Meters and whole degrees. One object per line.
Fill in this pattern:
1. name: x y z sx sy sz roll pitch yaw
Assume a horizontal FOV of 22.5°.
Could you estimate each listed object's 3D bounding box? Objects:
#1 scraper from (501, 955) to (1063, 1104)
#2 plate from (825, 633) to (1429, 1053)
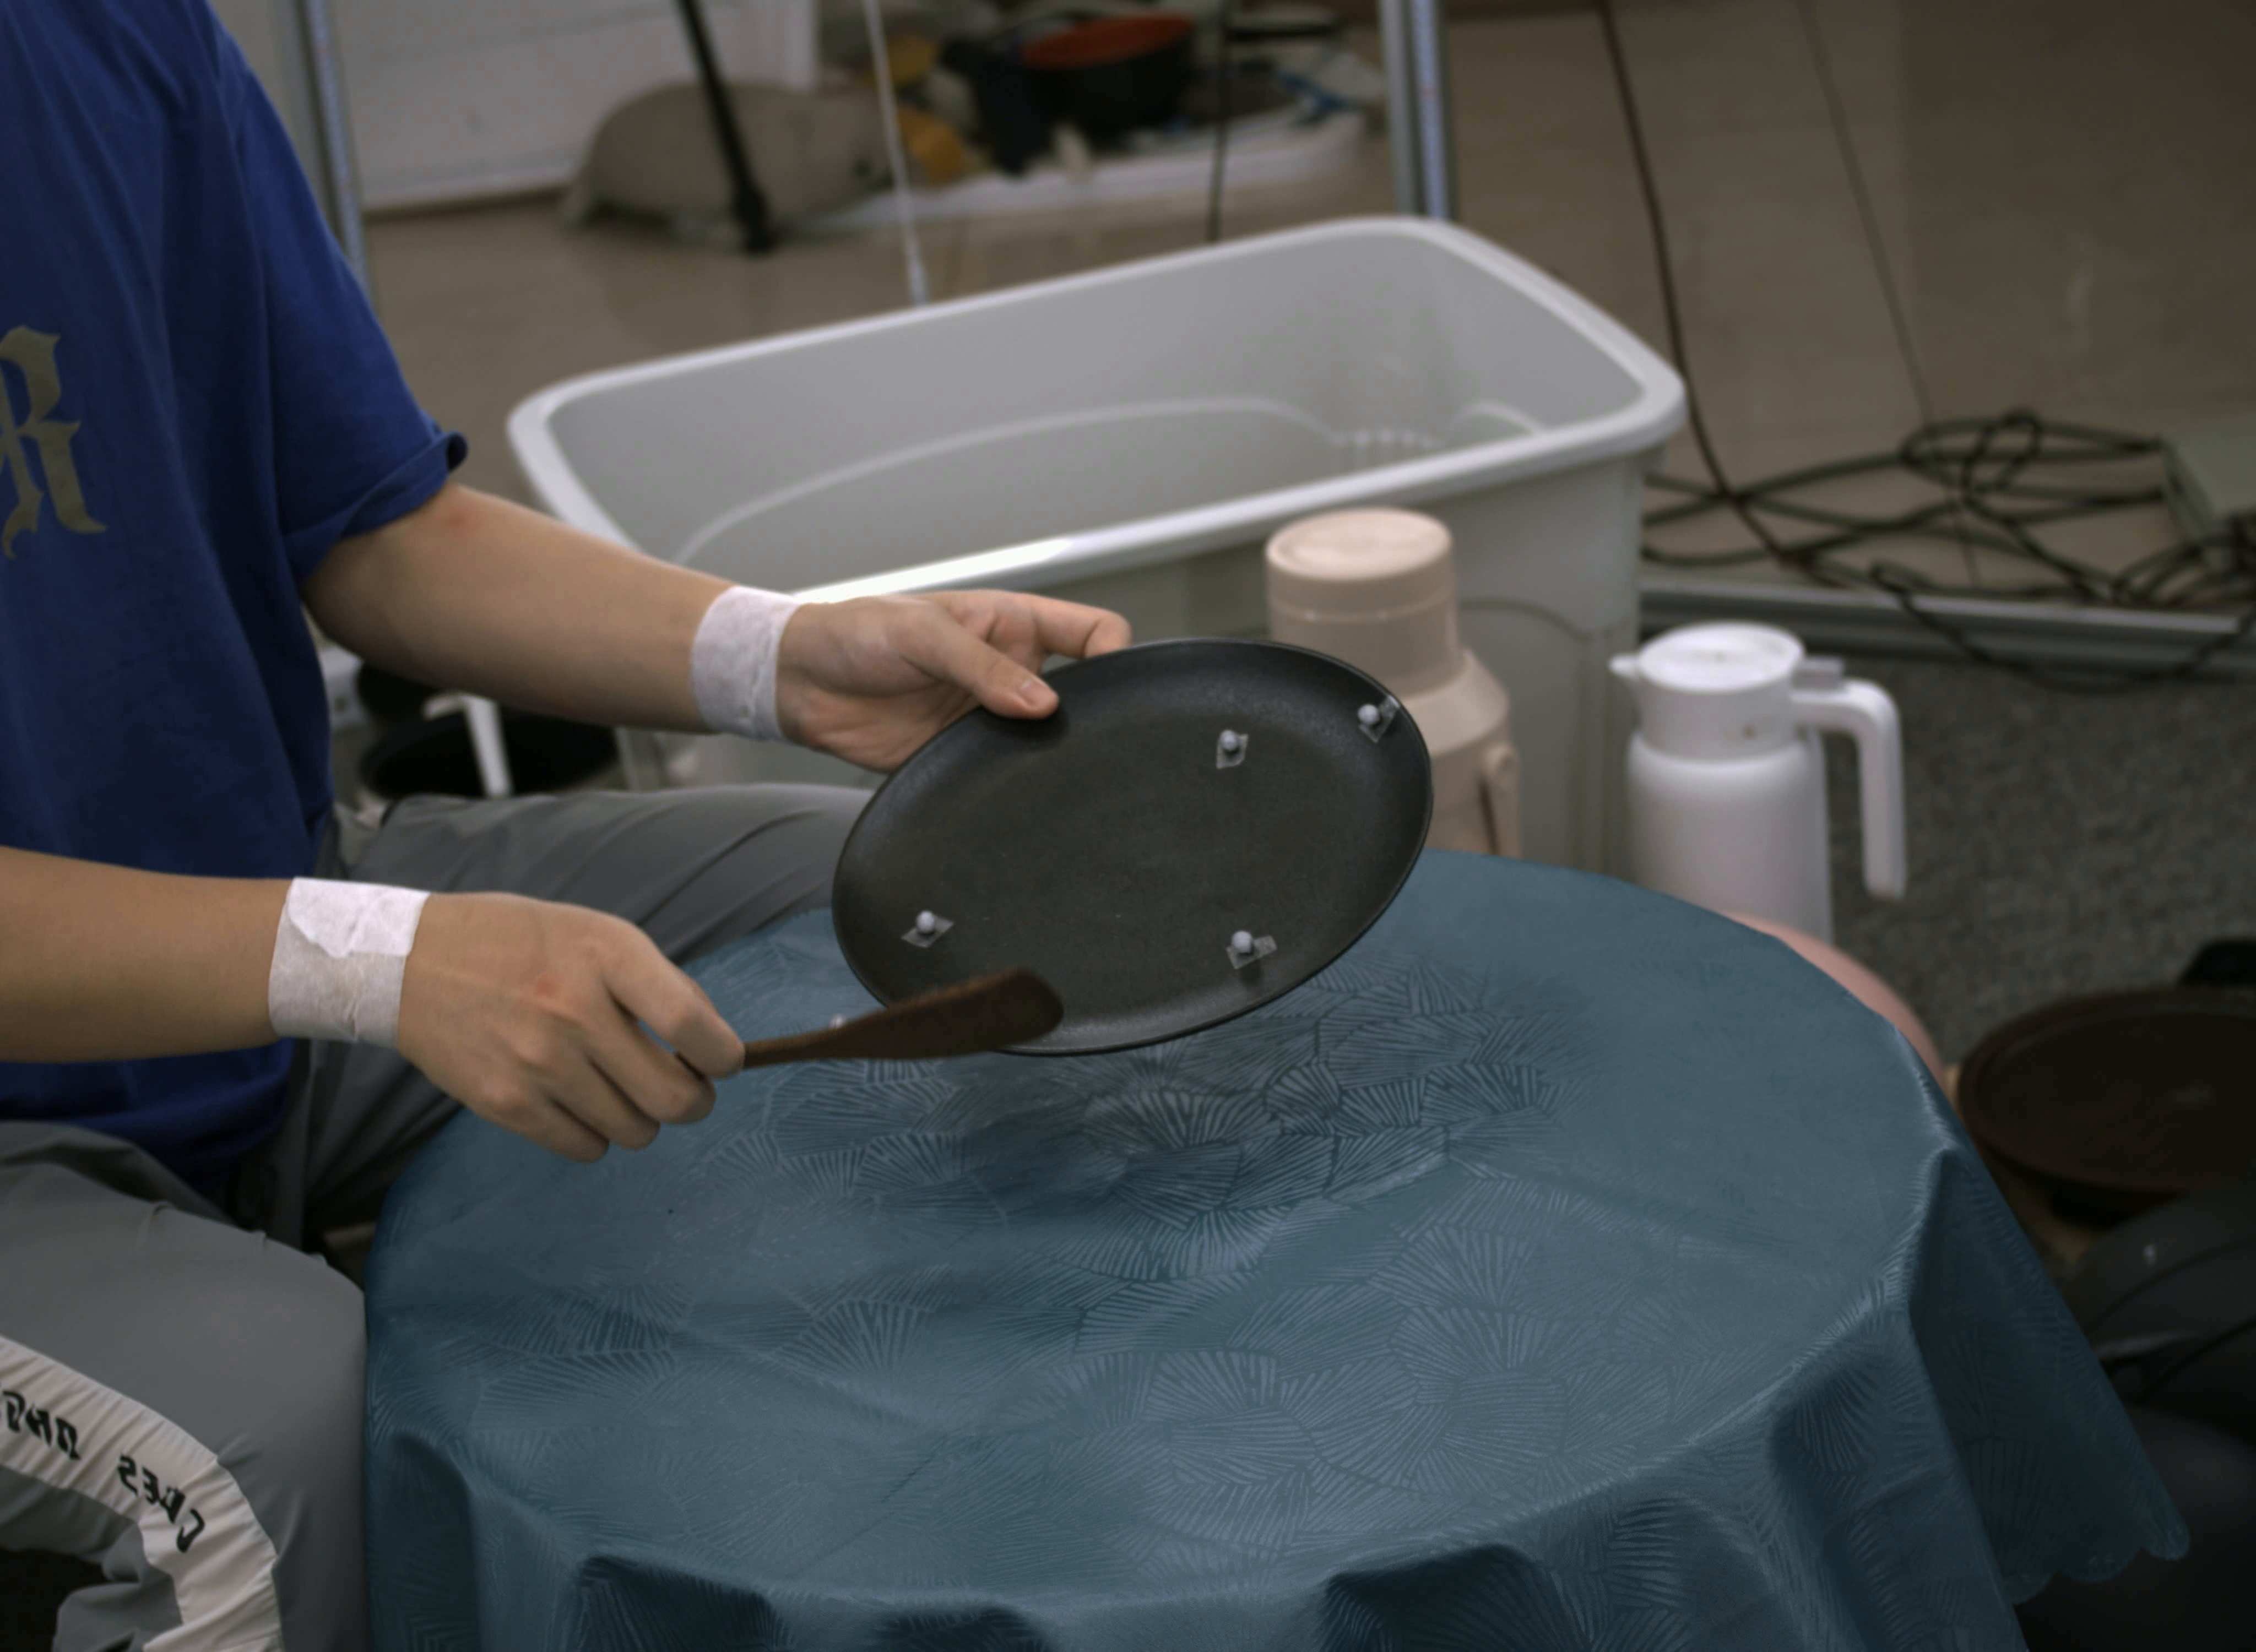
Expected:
1. scraper: -0.129 0.079 2.085 0.211 0.076 0.011 -11 69 10
2. plate: 0.001 0.011 2.216 0.244 0.024 0.240 -11 40 9
